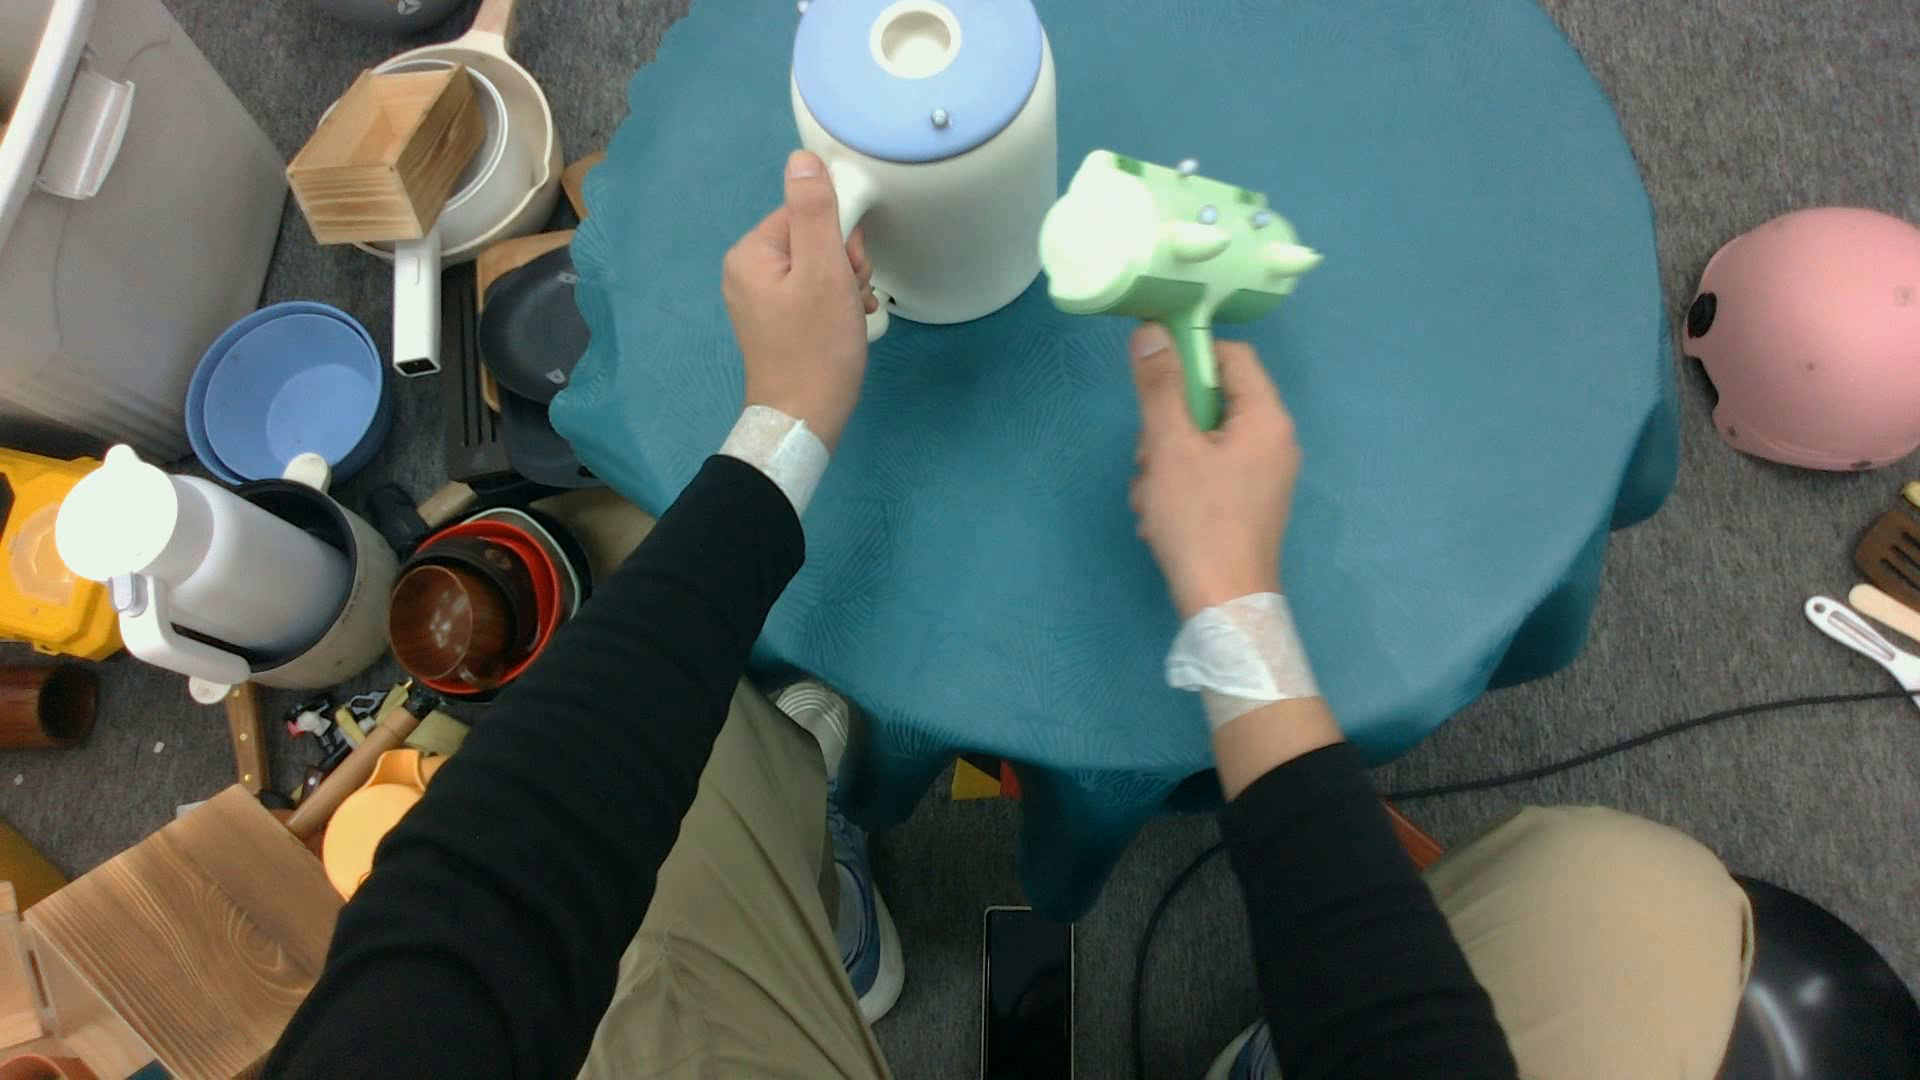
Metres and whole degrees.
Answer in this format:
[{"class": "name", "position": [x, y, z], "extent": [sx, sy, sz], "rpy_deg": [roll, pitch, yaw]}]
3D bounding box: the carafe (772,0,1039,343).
[{"class": "carafe", "position": [-0.036, -0.194, 0.723], "extent": [0.132, 0.182, 0.191], "rpy_deg": [27, 79, 11]}]

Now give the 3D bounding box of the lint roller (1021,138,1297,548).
[{"class": "lint roller", "position": [0.113, -0.091, 0.660], "extent": [0.082, 0.199, 0.183], "rpy_deg": [-13, 90, 33]}]
